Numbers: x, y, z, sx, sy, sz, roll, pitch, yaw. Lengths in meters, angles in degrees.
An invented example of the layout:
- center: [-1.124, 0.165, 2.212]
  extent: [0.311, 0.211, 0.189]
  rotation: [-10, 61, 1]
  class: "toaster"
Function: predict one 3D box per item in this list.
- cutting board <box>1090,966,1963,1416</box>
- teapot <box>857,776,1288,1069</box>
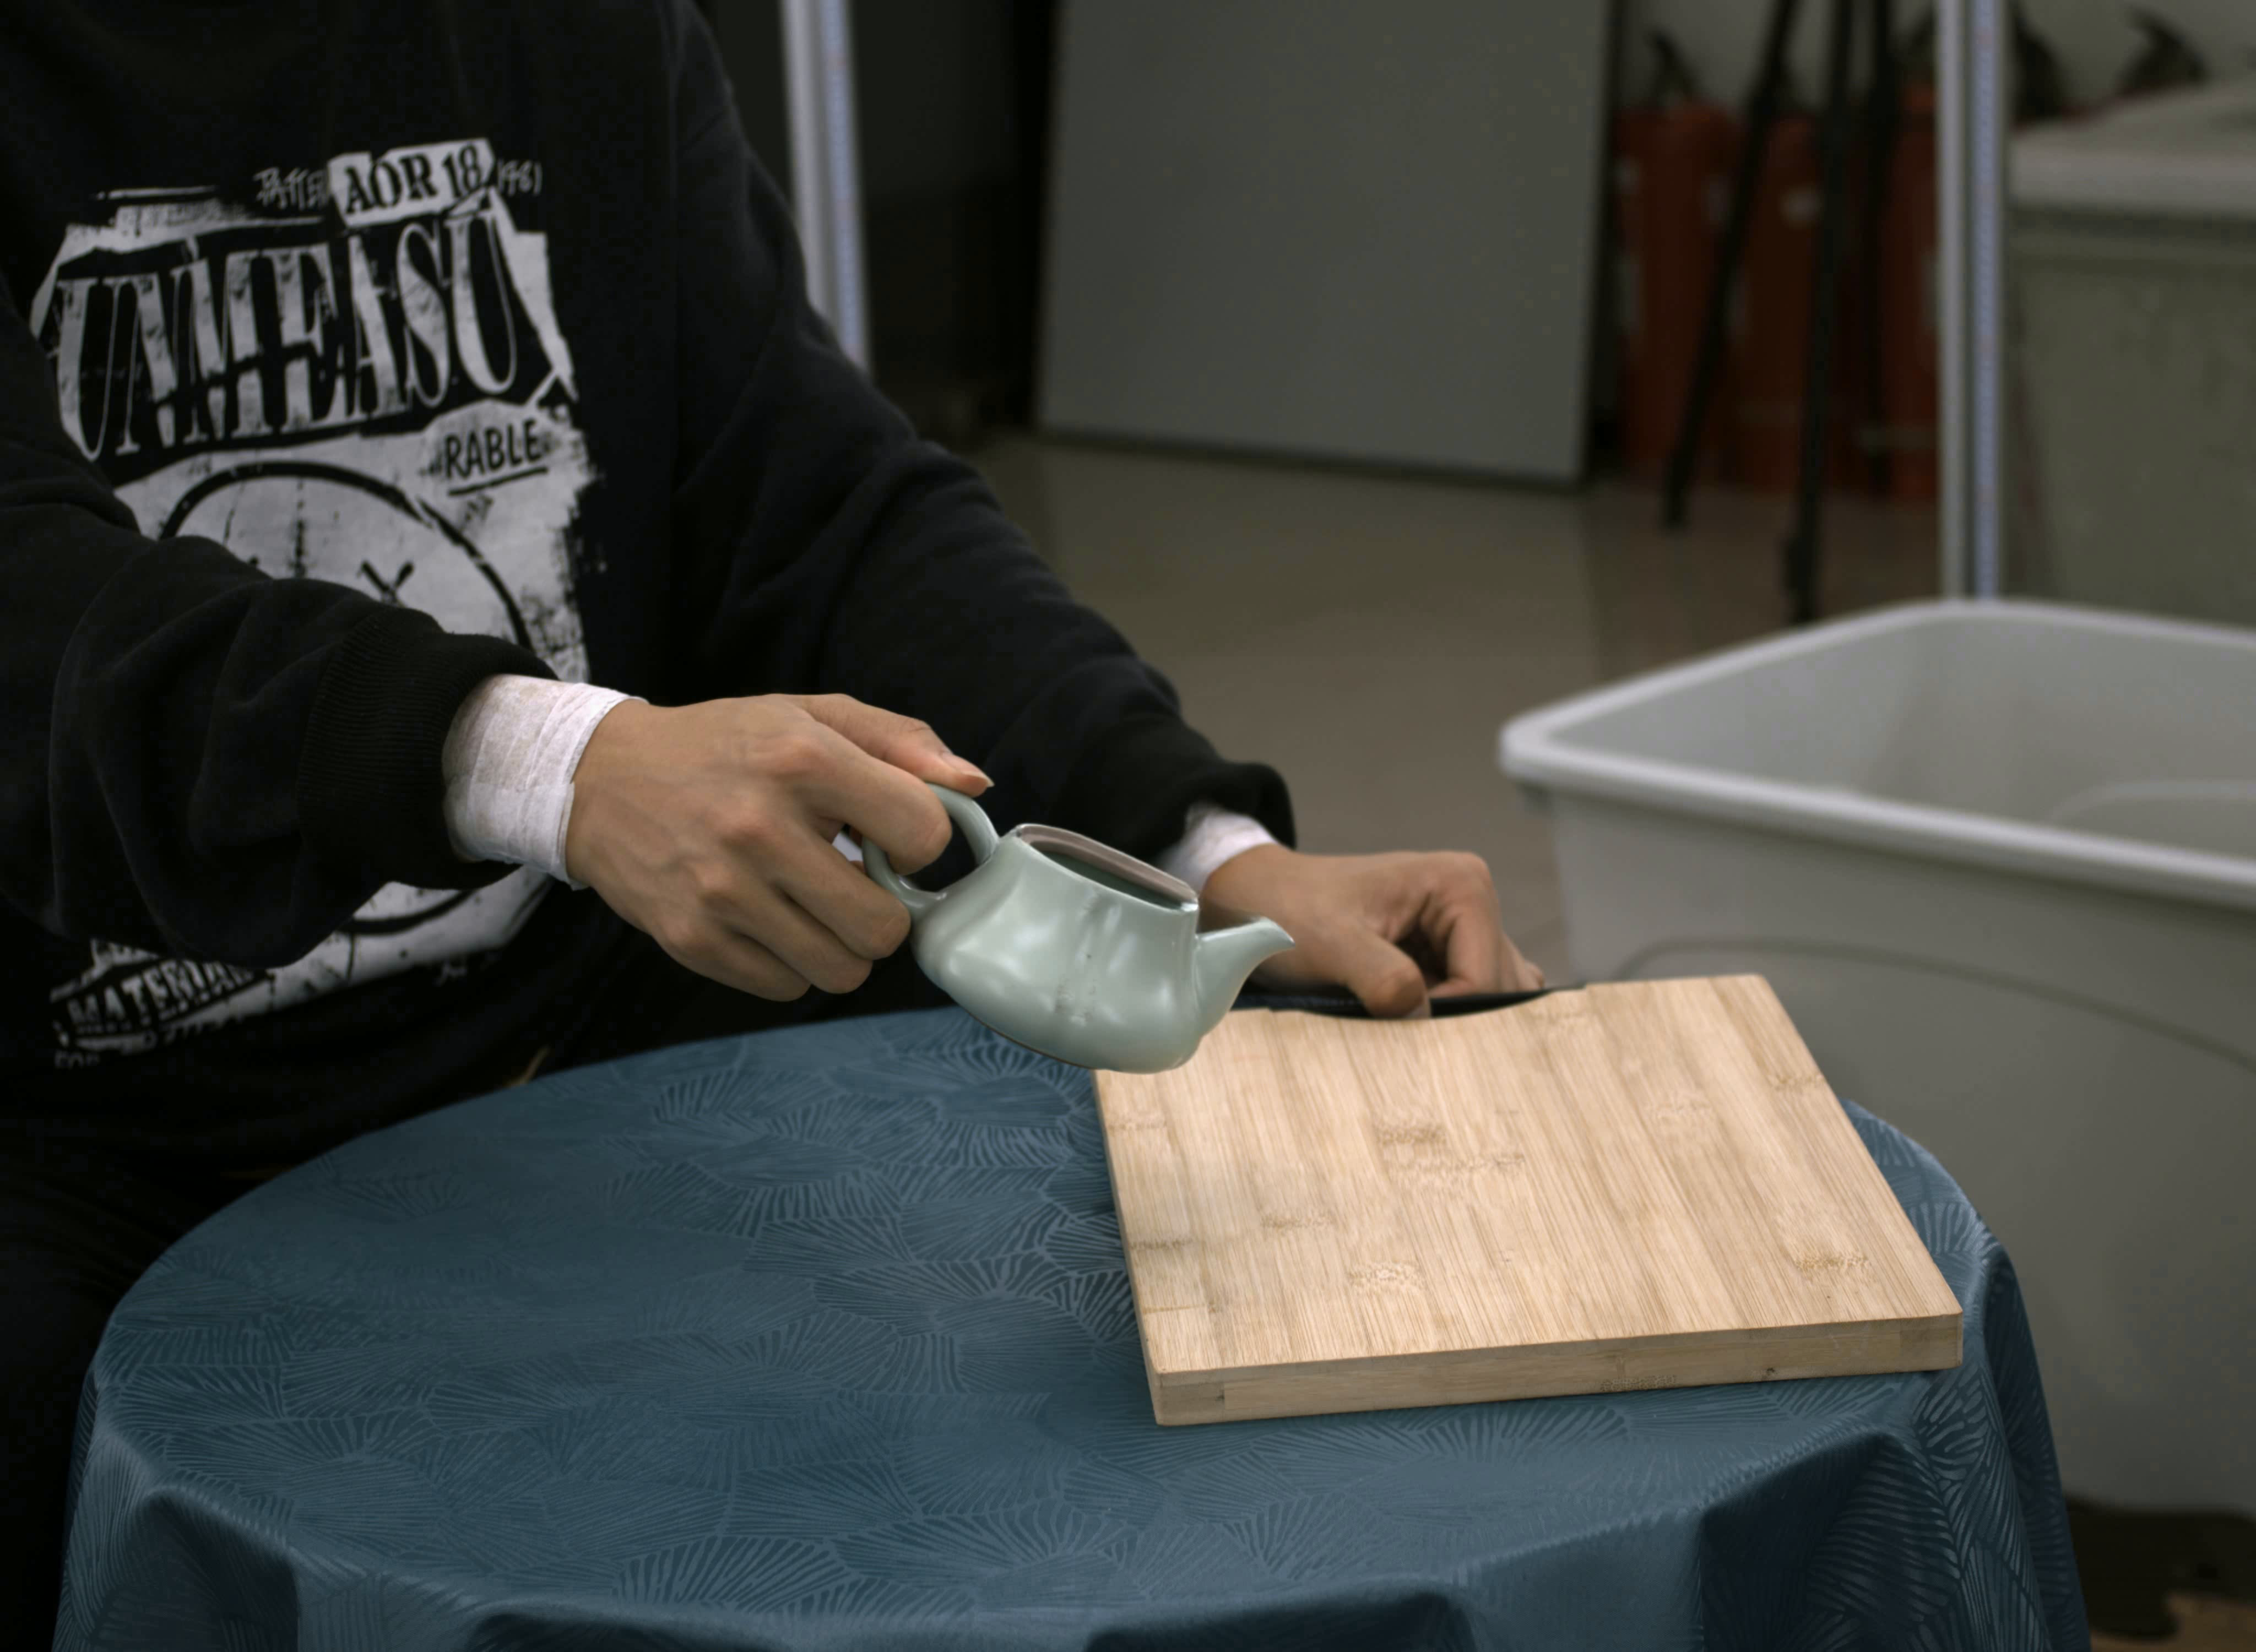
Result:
- center: [0.115, 0.112, 1.726]
  extent: [0.247, 0.024, 0.350]
  rotation: [-5, 15, -3]
  class: "cutting board"
- center: [-0.022, 0.032, 1.636]
  extent: [0.135, 0.062, 0.096]
  rotation: [21, 12, -12]
  class: "teapot"
